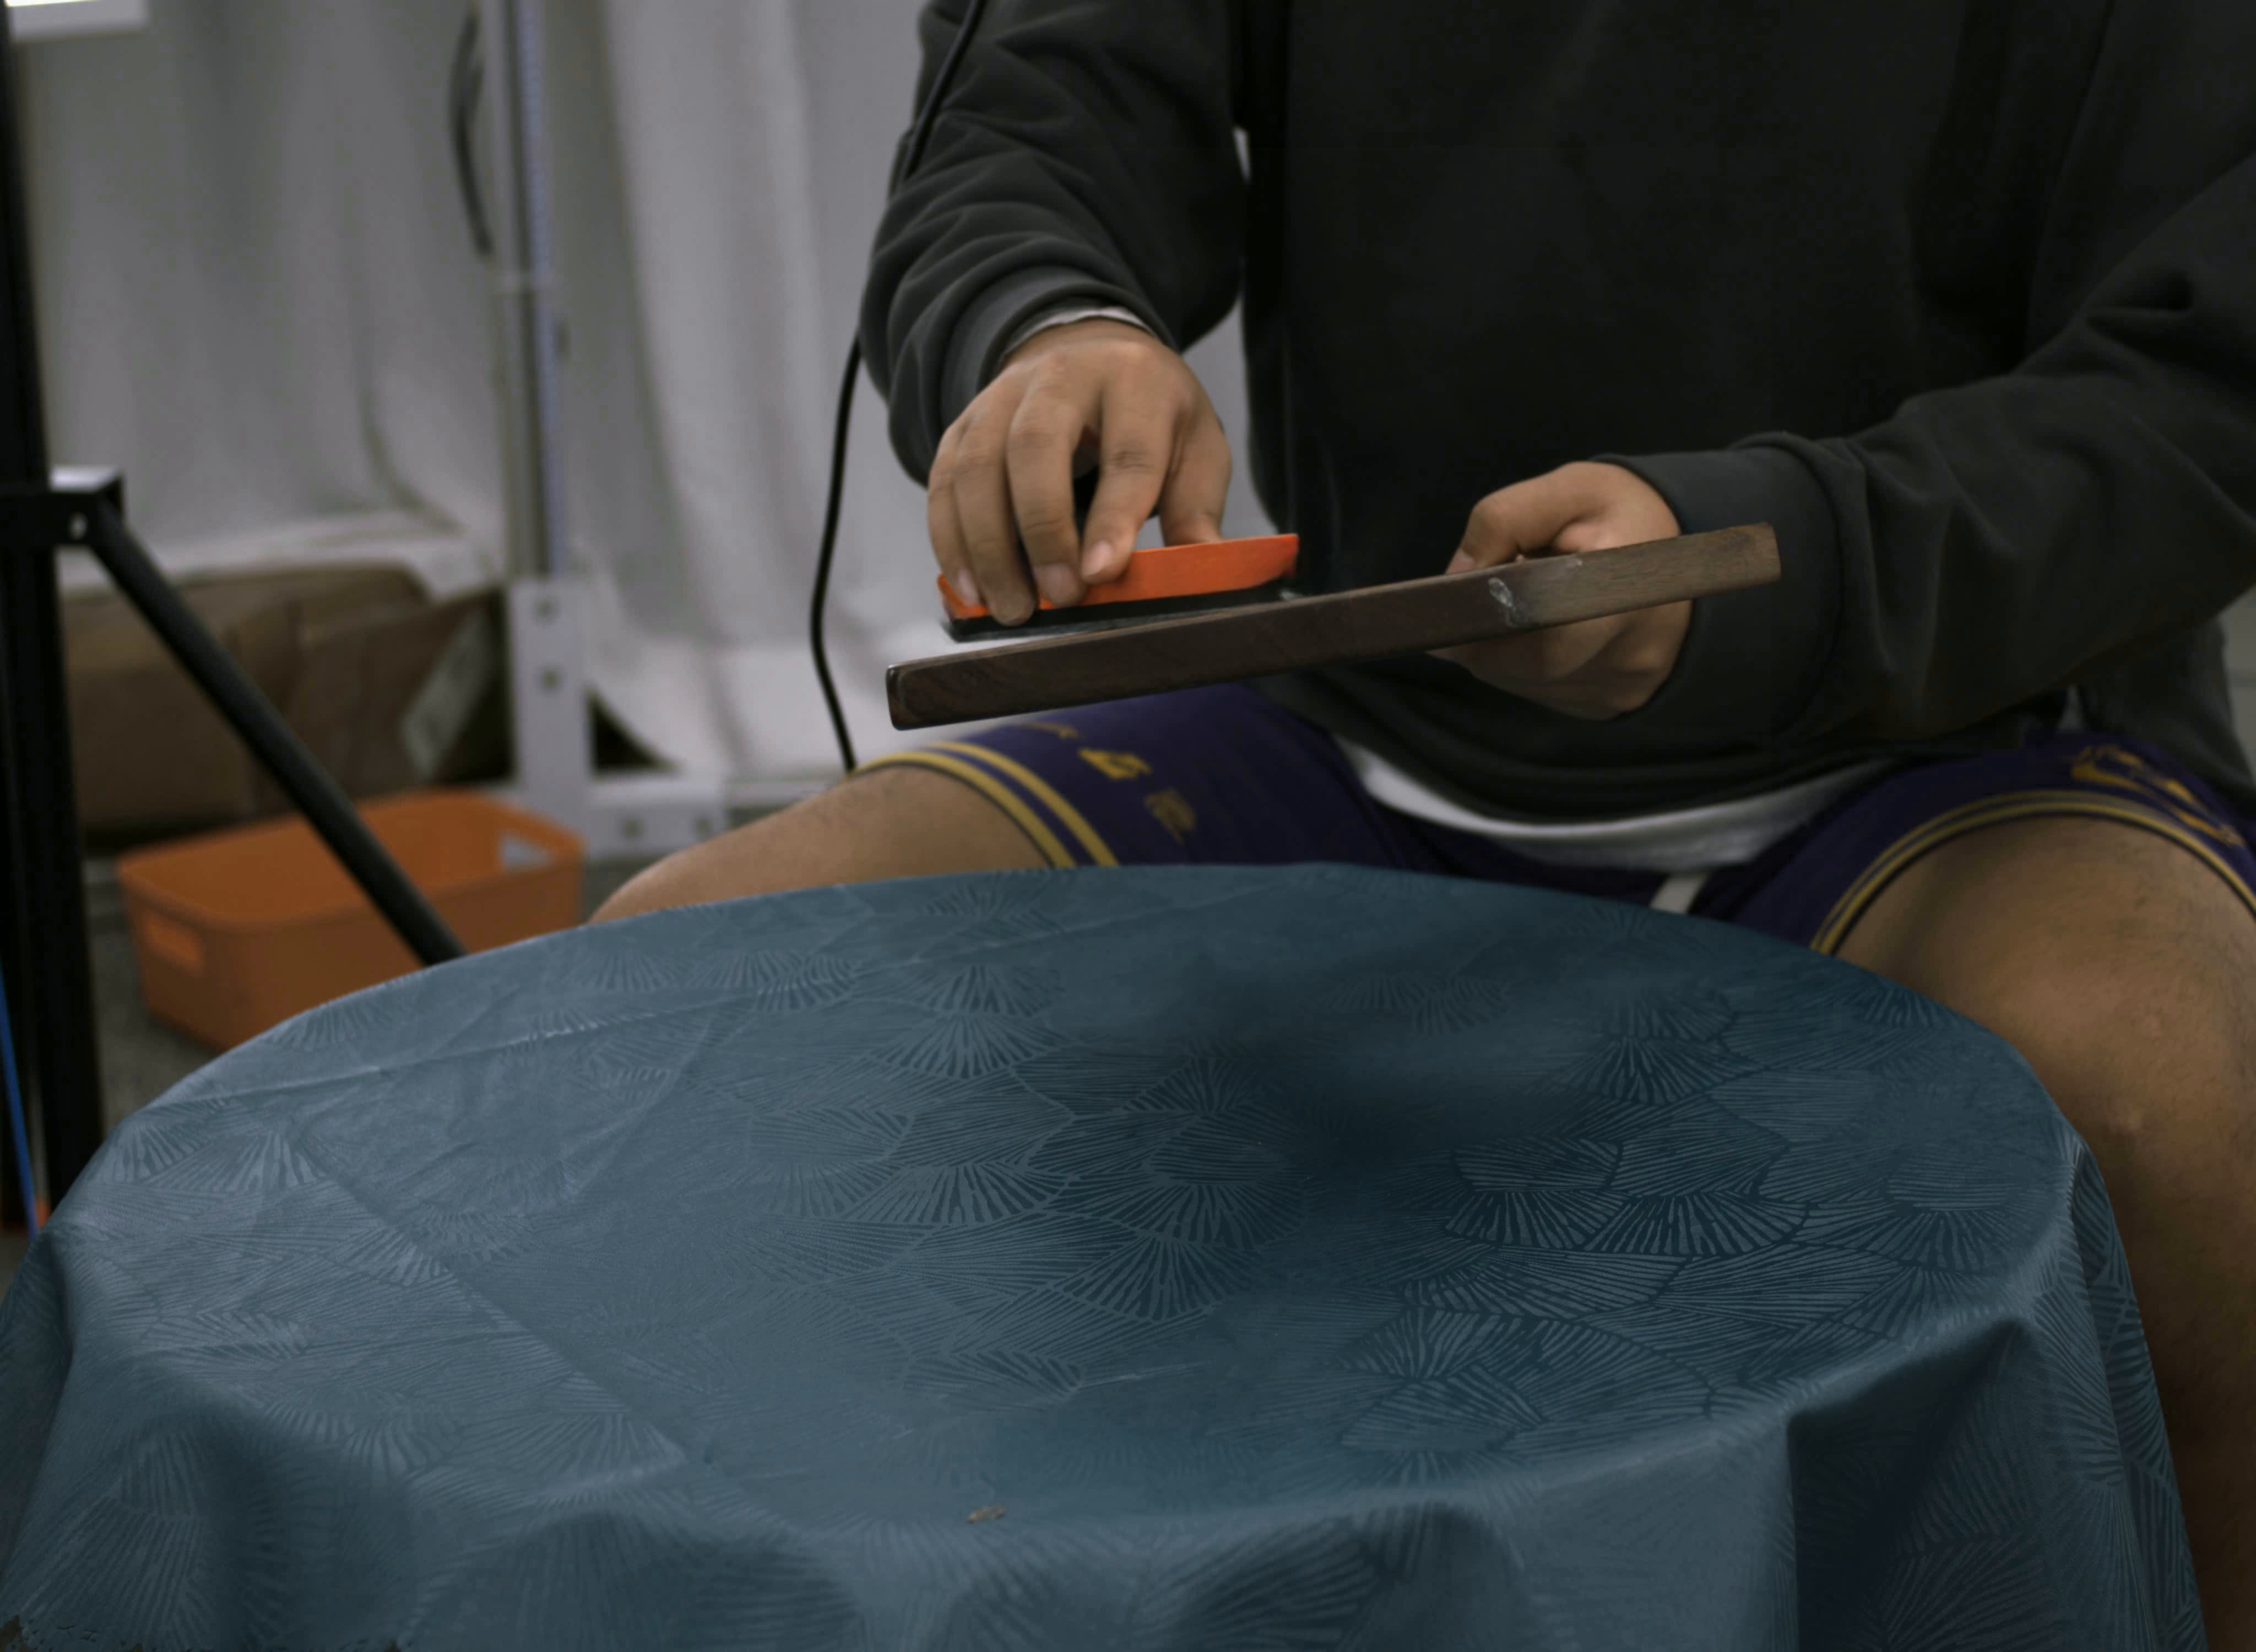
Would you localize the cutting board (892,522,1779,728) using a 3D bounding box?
[{"bbox_3d":[0.083,-0.063,1.586,0.203,0.023,0.346,-8,2,22],"label":"cutting board"}]

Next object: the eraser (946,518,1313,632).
[{"bbox_3d":[0.000,-0.077,1.646,0.110,0.023,0.057,-6,2,38],"label":"eraser"}]
